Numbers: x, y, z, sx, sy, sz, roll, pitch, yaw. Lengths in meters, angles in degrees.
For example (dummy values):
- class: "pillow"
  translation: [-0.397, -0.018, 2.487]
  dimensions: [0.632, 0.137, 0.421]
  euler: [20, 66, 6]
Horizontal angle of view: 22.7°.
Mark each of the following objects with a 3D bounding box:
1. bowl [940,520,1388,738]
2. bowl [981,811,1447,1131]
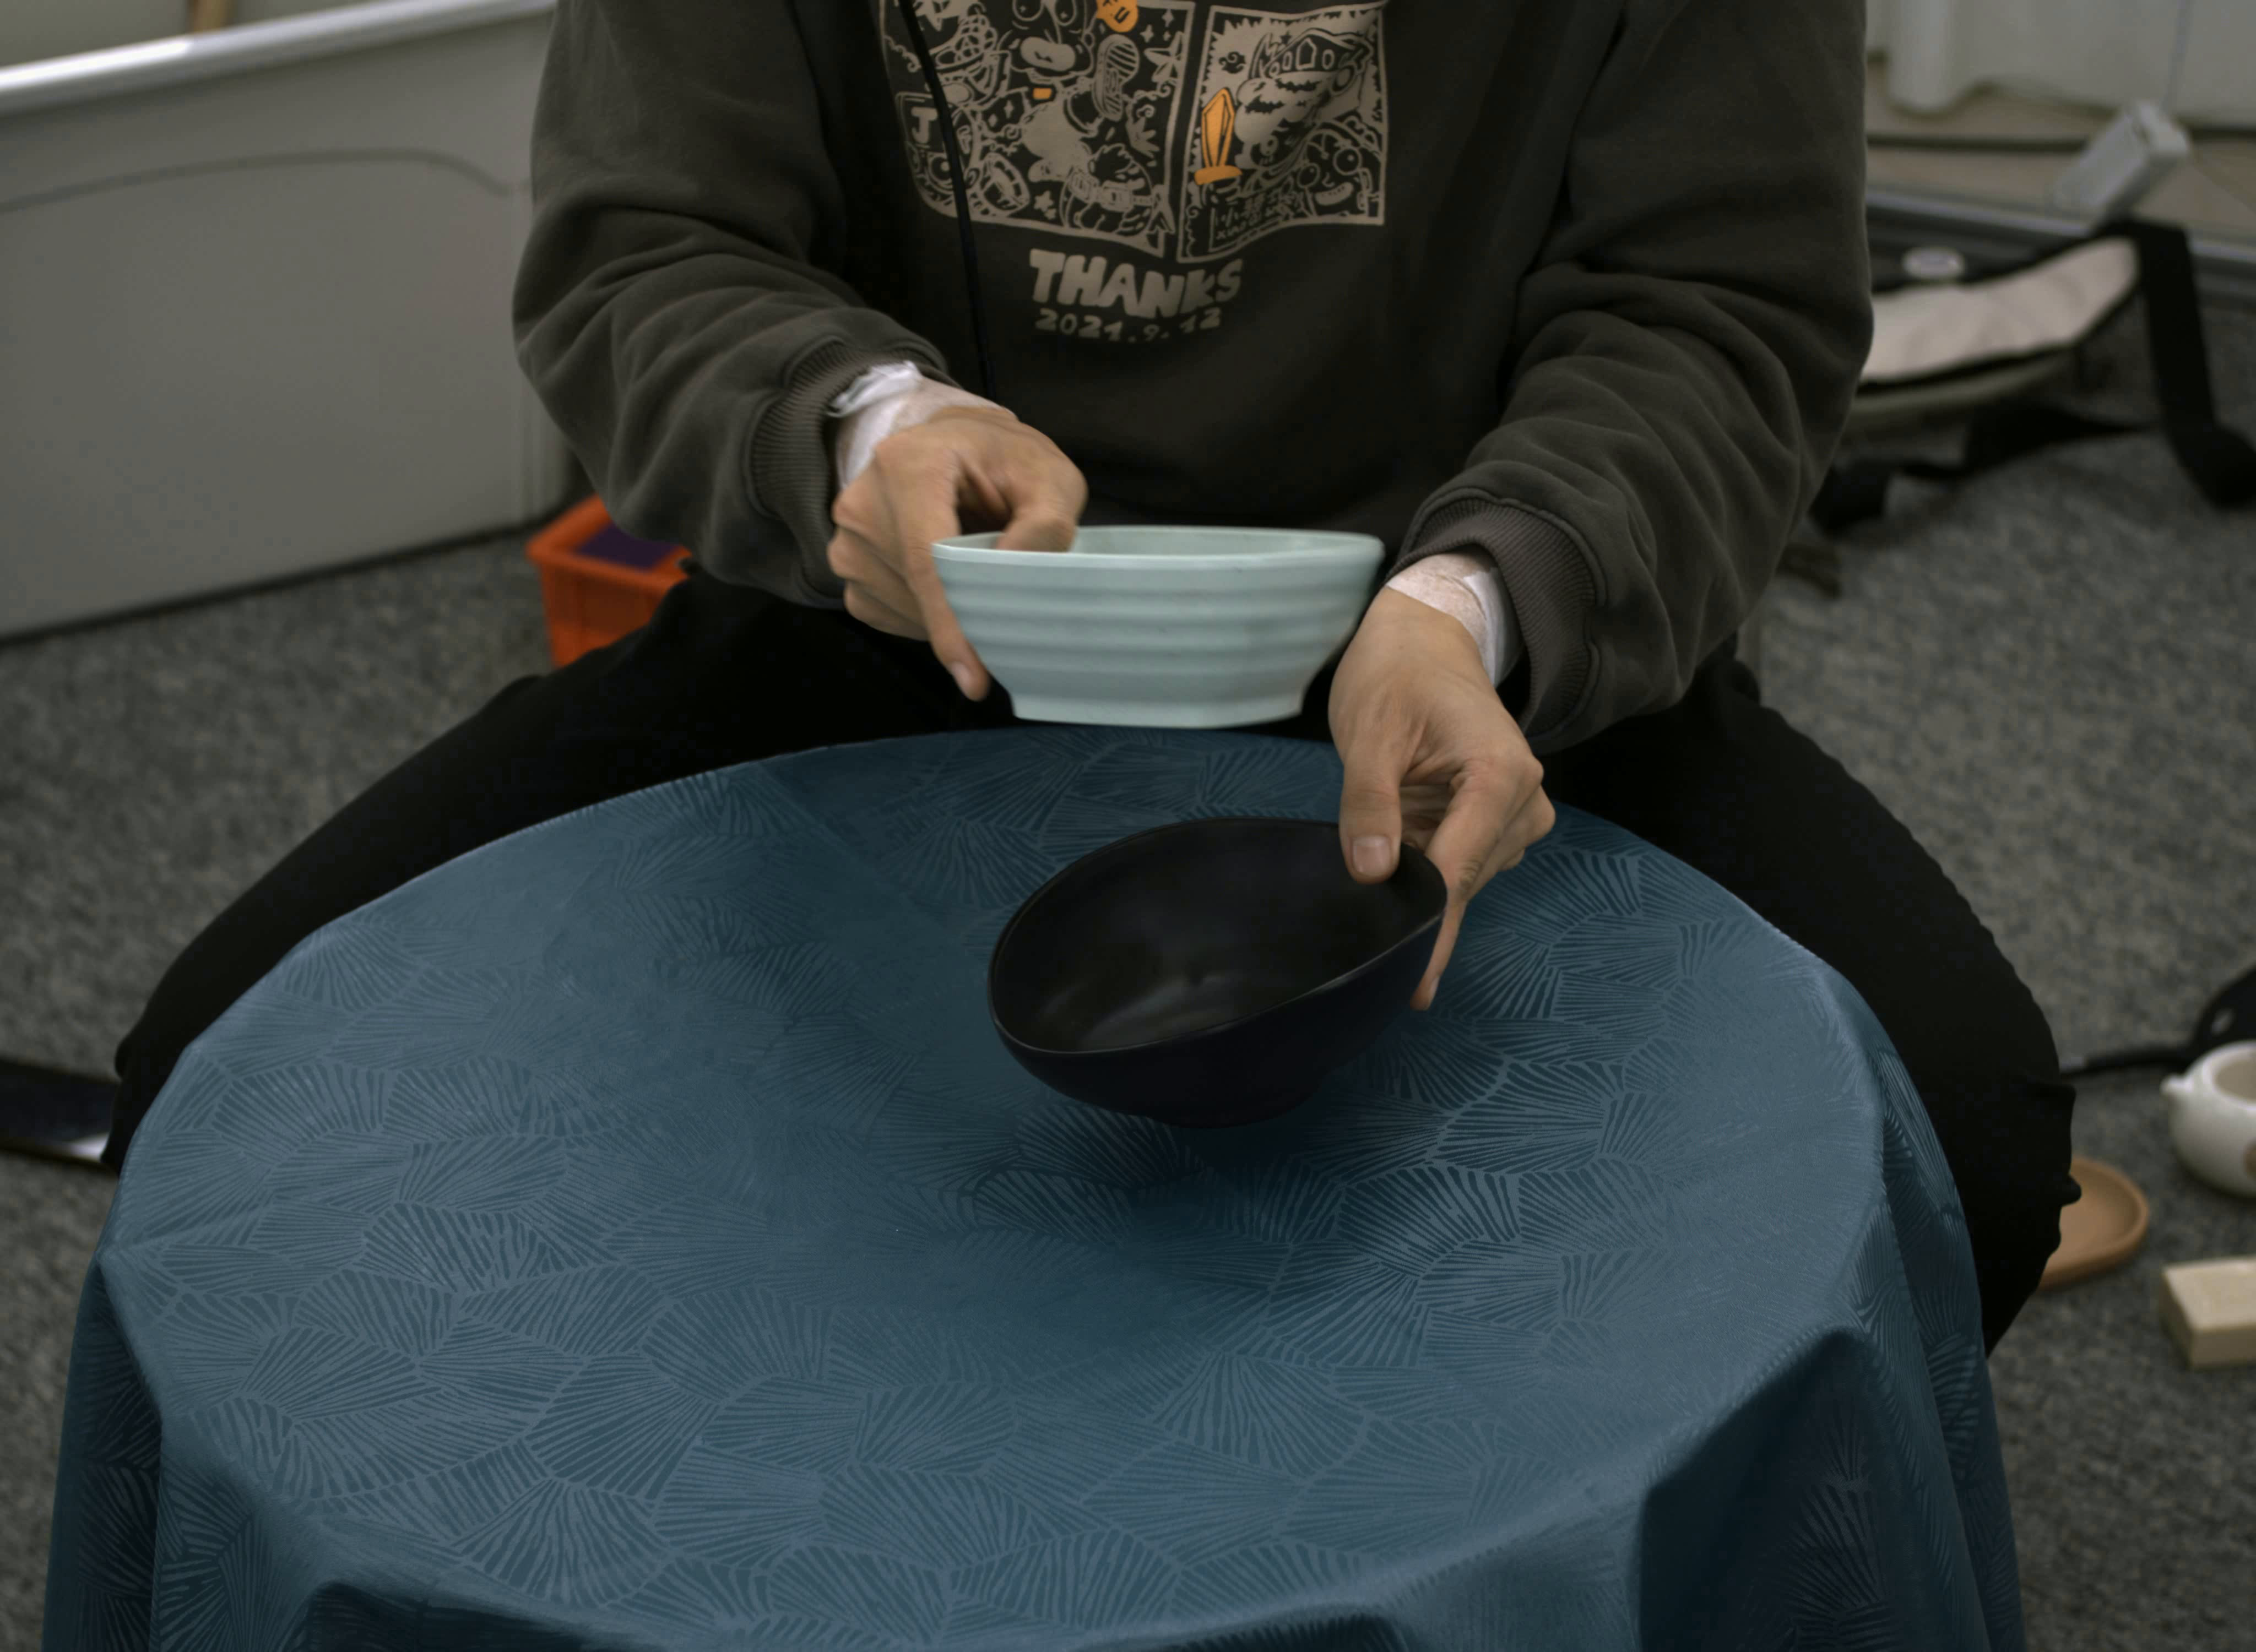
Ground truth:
- class: "bowl"
  translation: [0.011, -0.064, 1.849]
  dimensions: [0.151, 0.058, 0.152]
  euler: [3, 8, 0]
- class: "bowl"
  translation: [0.031, 0.058, 1.875]
  dimensions: [0.172, 0.066, 0.137]
  euler: [-27, 33, -36]
